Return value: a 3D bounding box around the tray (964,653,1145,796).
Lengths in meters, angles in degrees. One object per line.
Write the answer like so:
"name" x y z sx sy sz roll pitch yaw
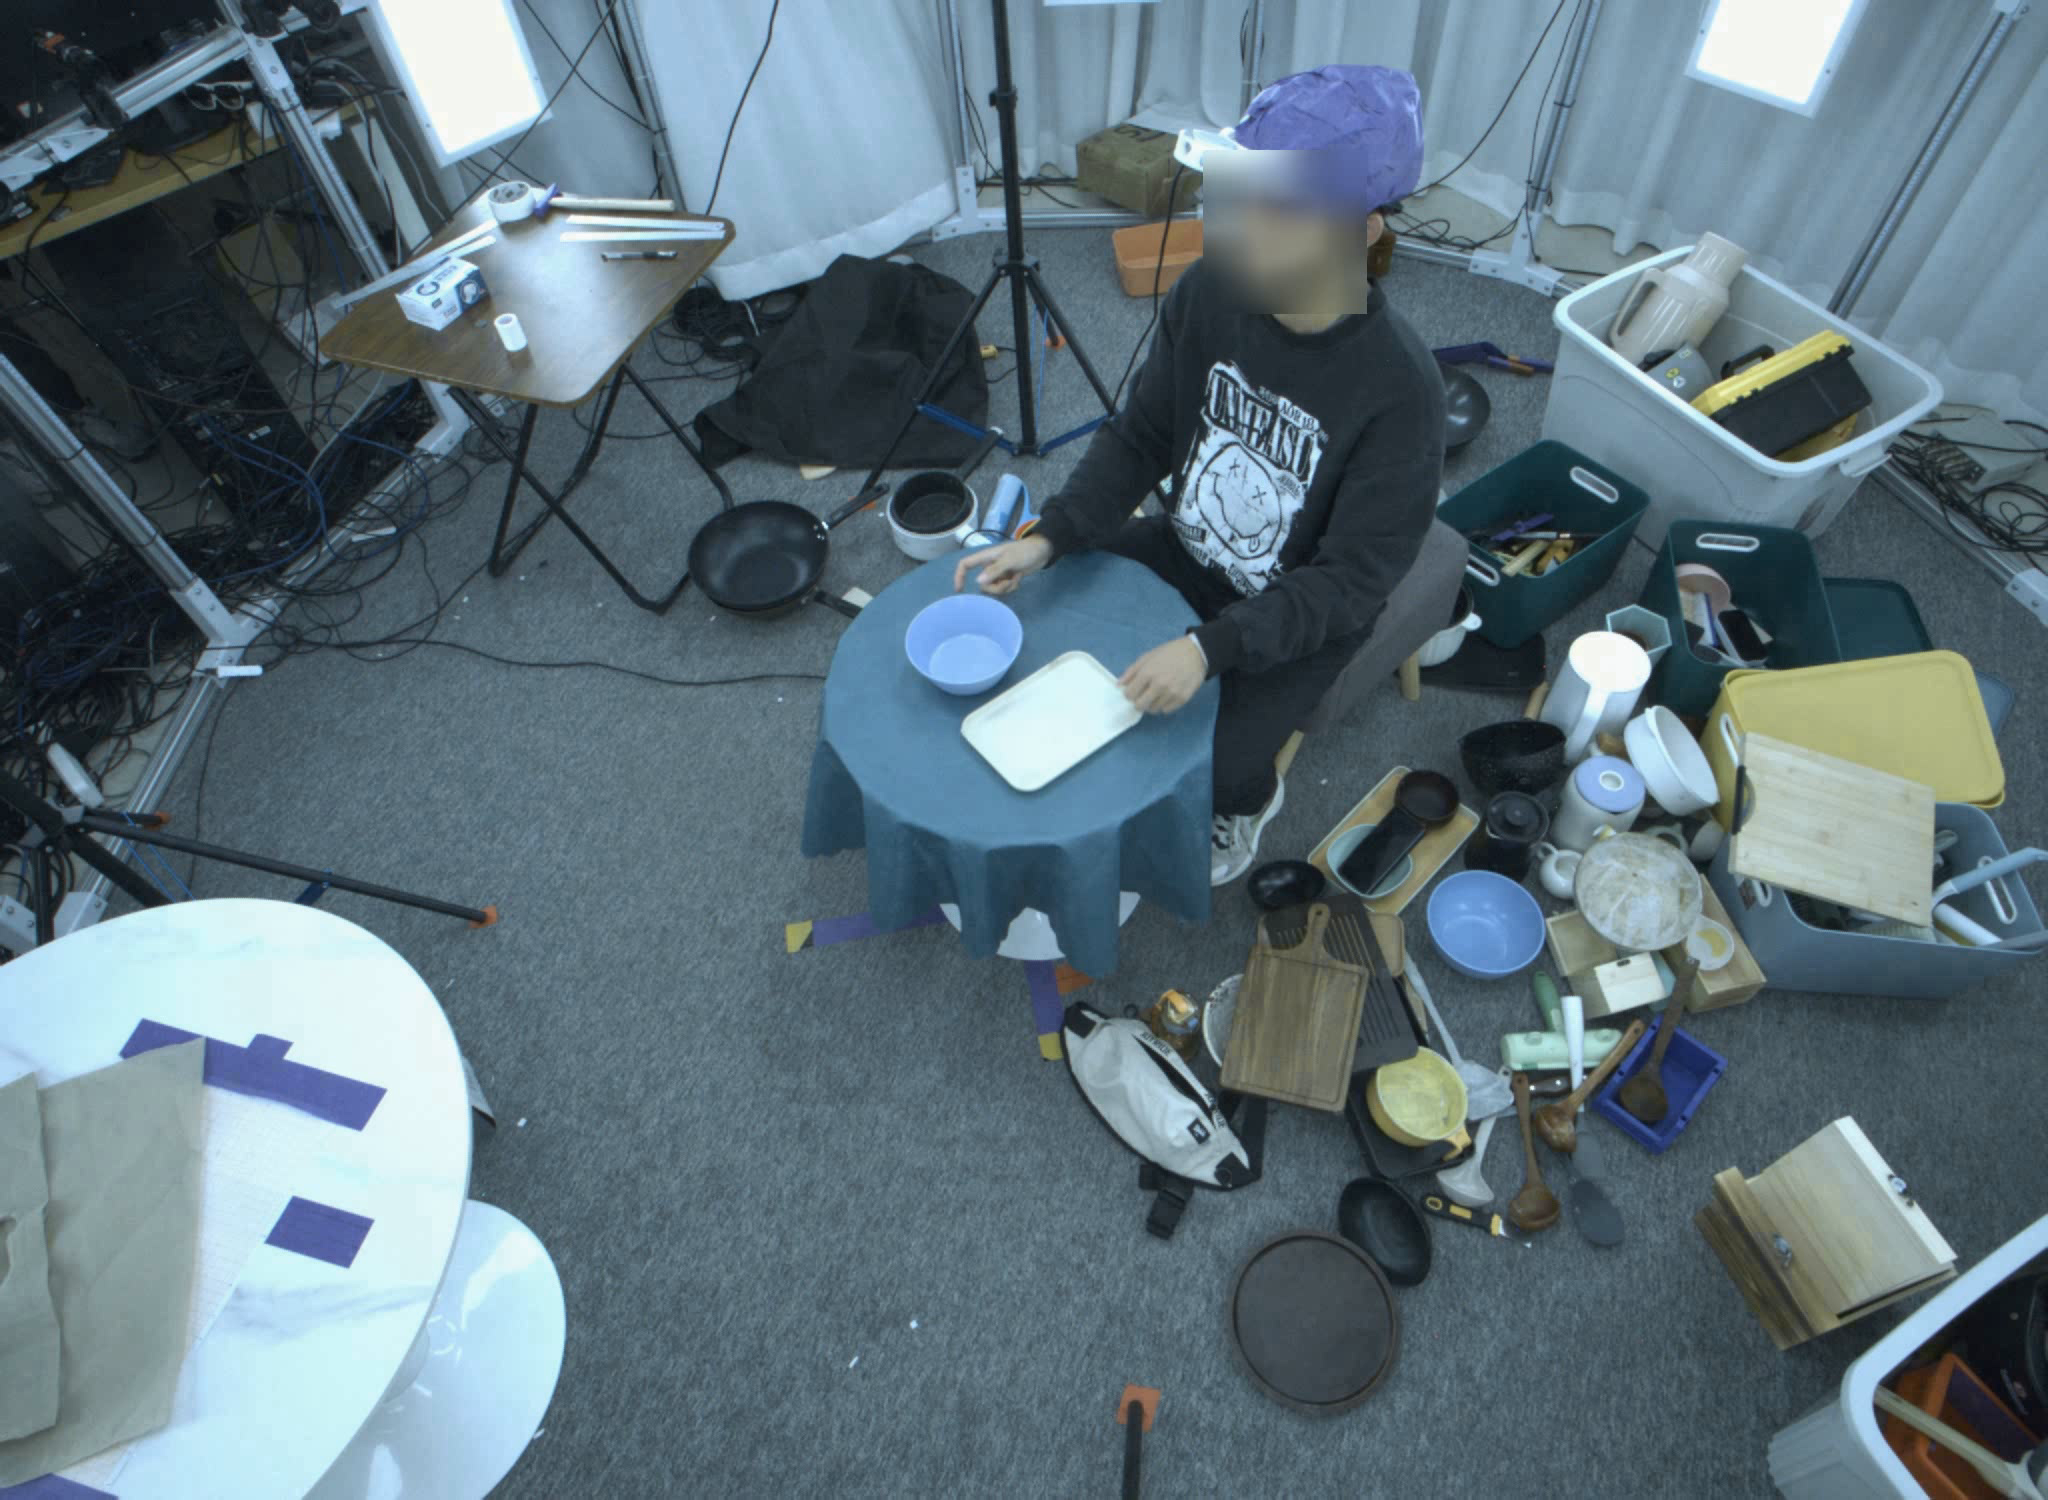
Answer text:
"tray" 0.045 -0.039 1.813 0.241 0.017 0.168 -34 61 -20

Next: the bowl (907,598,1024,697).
"bowl" -0.087 -0.145 1.859 0.176 0.071 0.174 0 55 1
